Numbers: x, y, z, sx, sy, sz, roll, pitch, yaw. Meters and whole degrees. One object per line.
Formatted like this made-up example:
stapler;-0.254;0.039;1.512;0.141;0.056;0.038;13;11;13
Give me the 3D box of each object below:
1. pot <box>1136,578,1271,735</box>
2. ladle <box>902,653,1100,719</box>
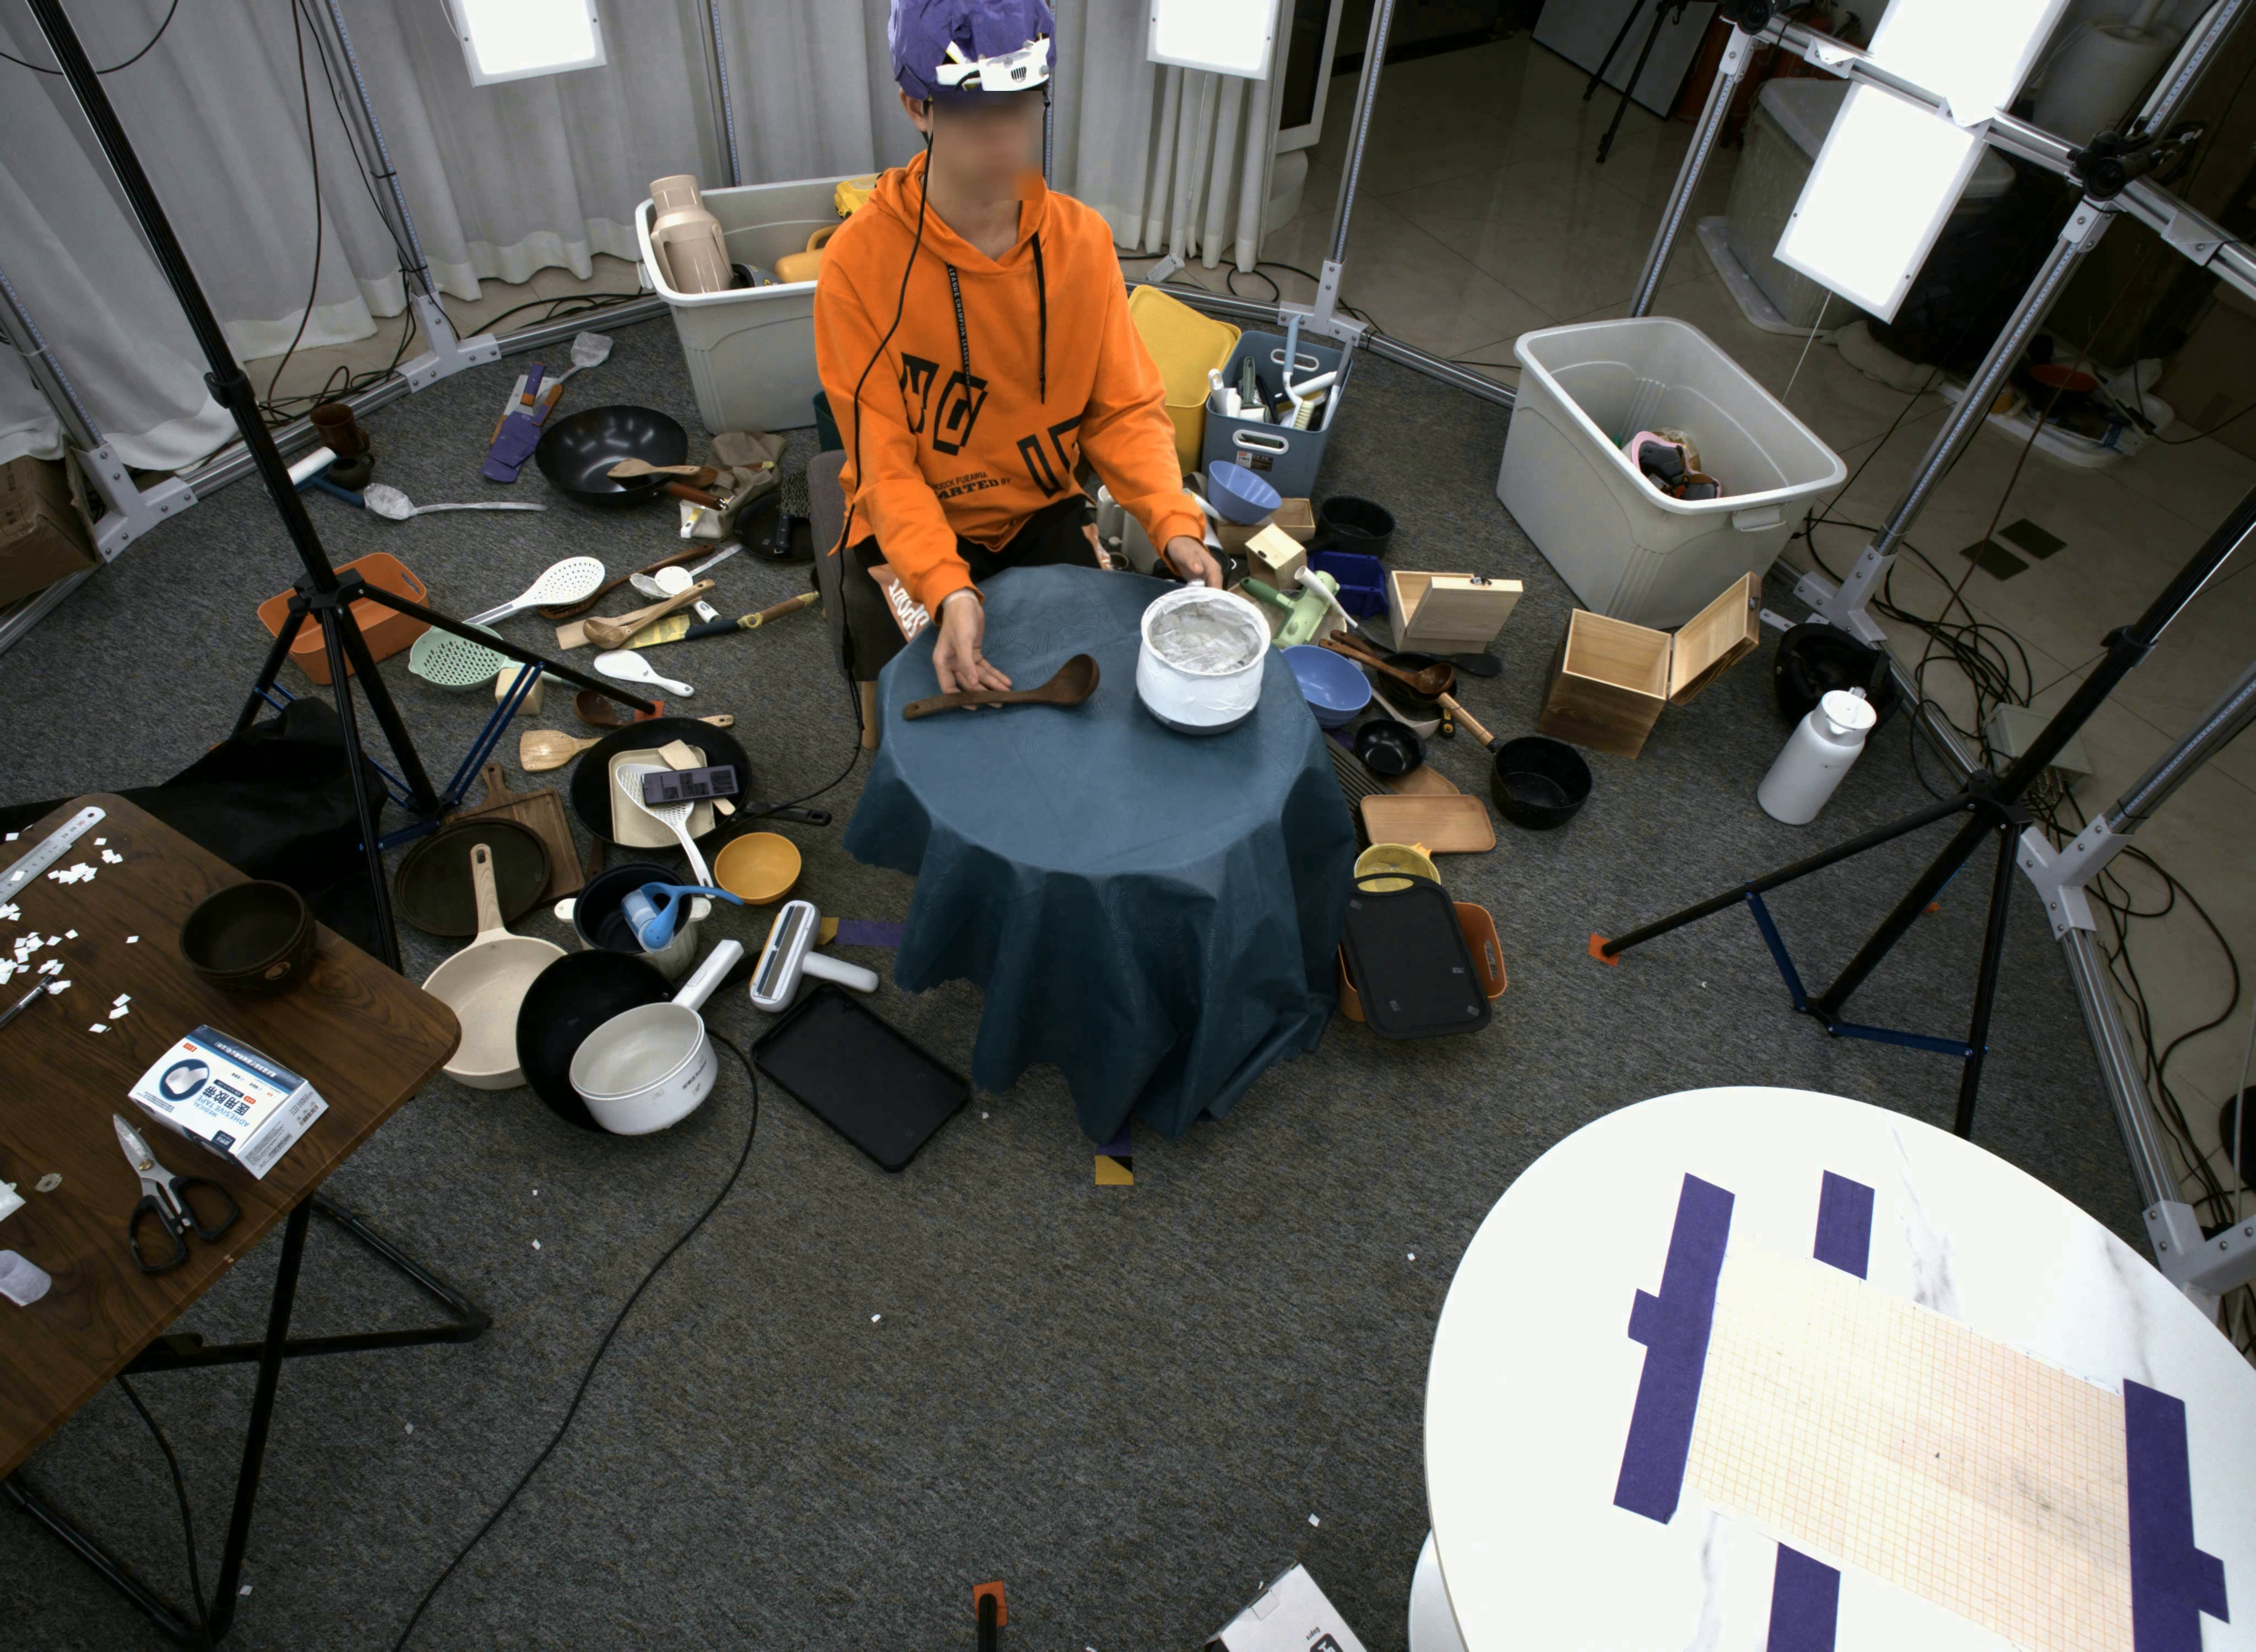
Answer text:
pot;0.098;-0.247;1.801;0.178;0.133;0.239;-2;50;-7
ladle;-0.176;-0.192;1.779;0.274;0.069;0.078;-7;49;-10
